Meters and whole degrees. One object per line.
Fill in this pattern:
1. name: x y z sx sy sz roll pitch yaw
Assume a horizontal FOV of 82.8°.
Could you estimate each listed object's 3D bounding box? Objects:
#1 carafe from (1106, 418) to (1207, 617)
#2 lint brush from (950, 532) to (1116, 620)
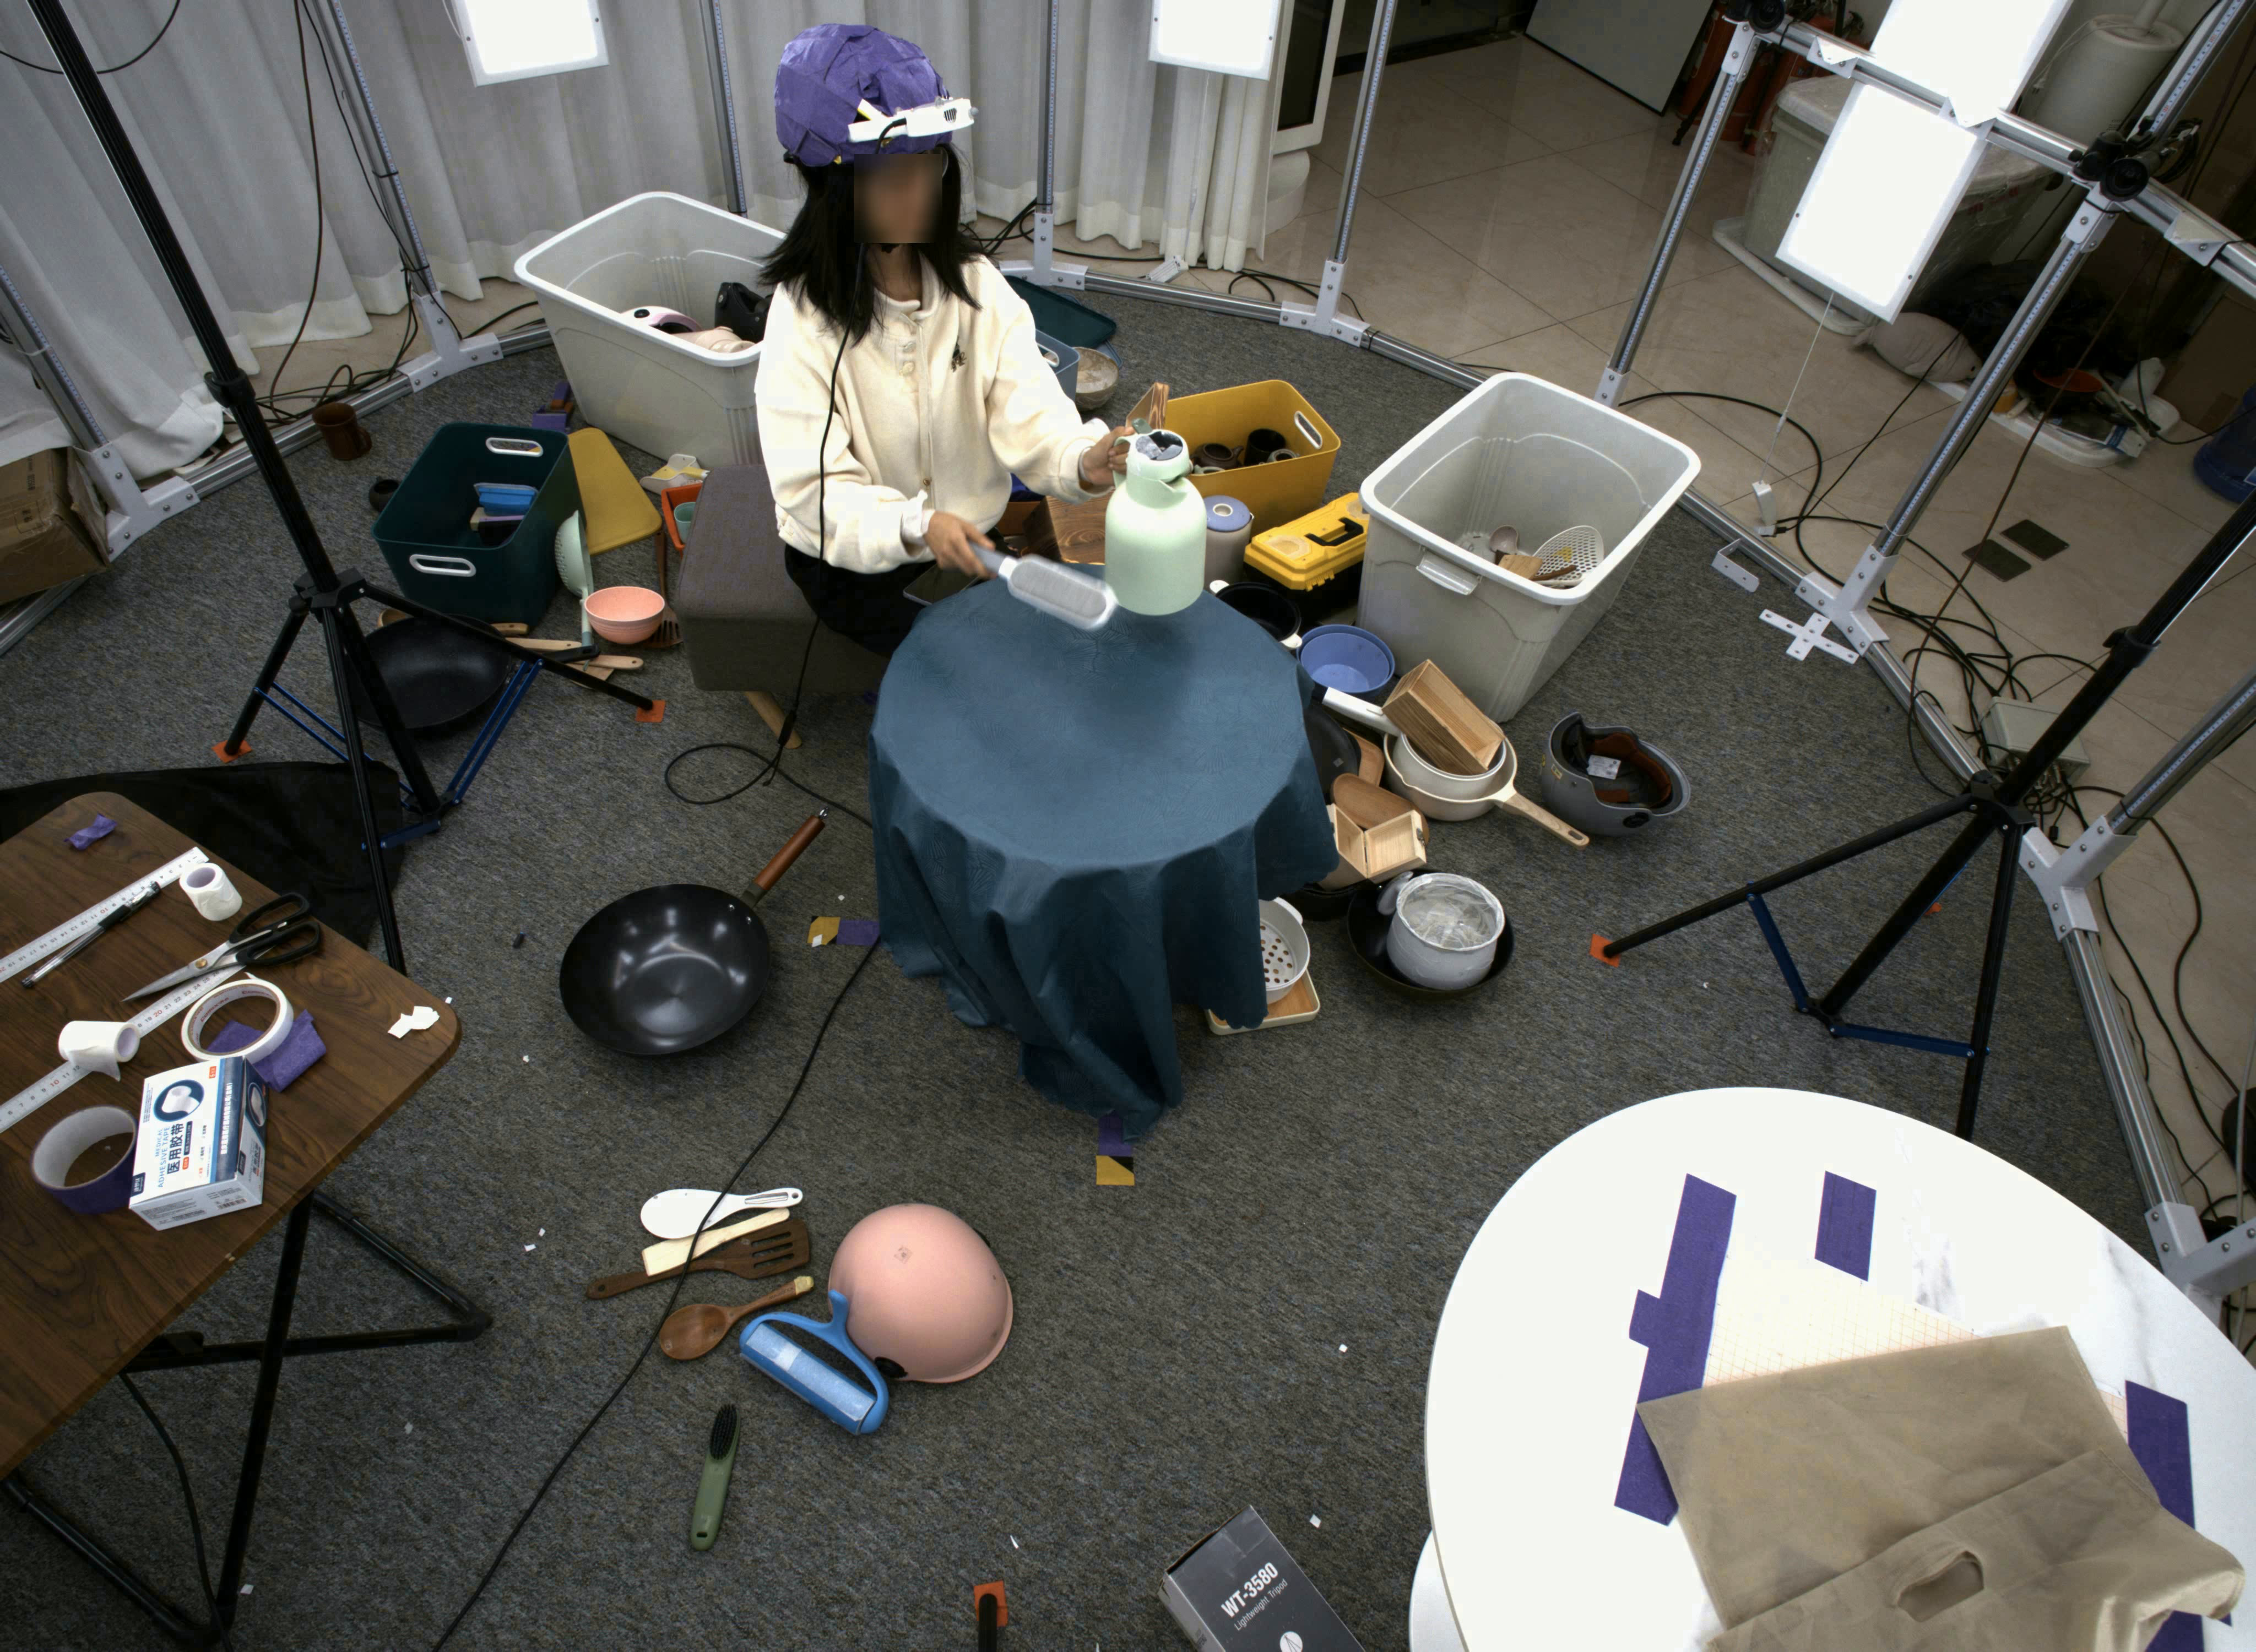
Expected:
1. carafe: 0.033 -0.436 1.802 0.144 0.250 0.191 -22 51 -16
2. lint brush: -0.132 -0.343 1.726 0.313 0.020 0.060 28 90 35
